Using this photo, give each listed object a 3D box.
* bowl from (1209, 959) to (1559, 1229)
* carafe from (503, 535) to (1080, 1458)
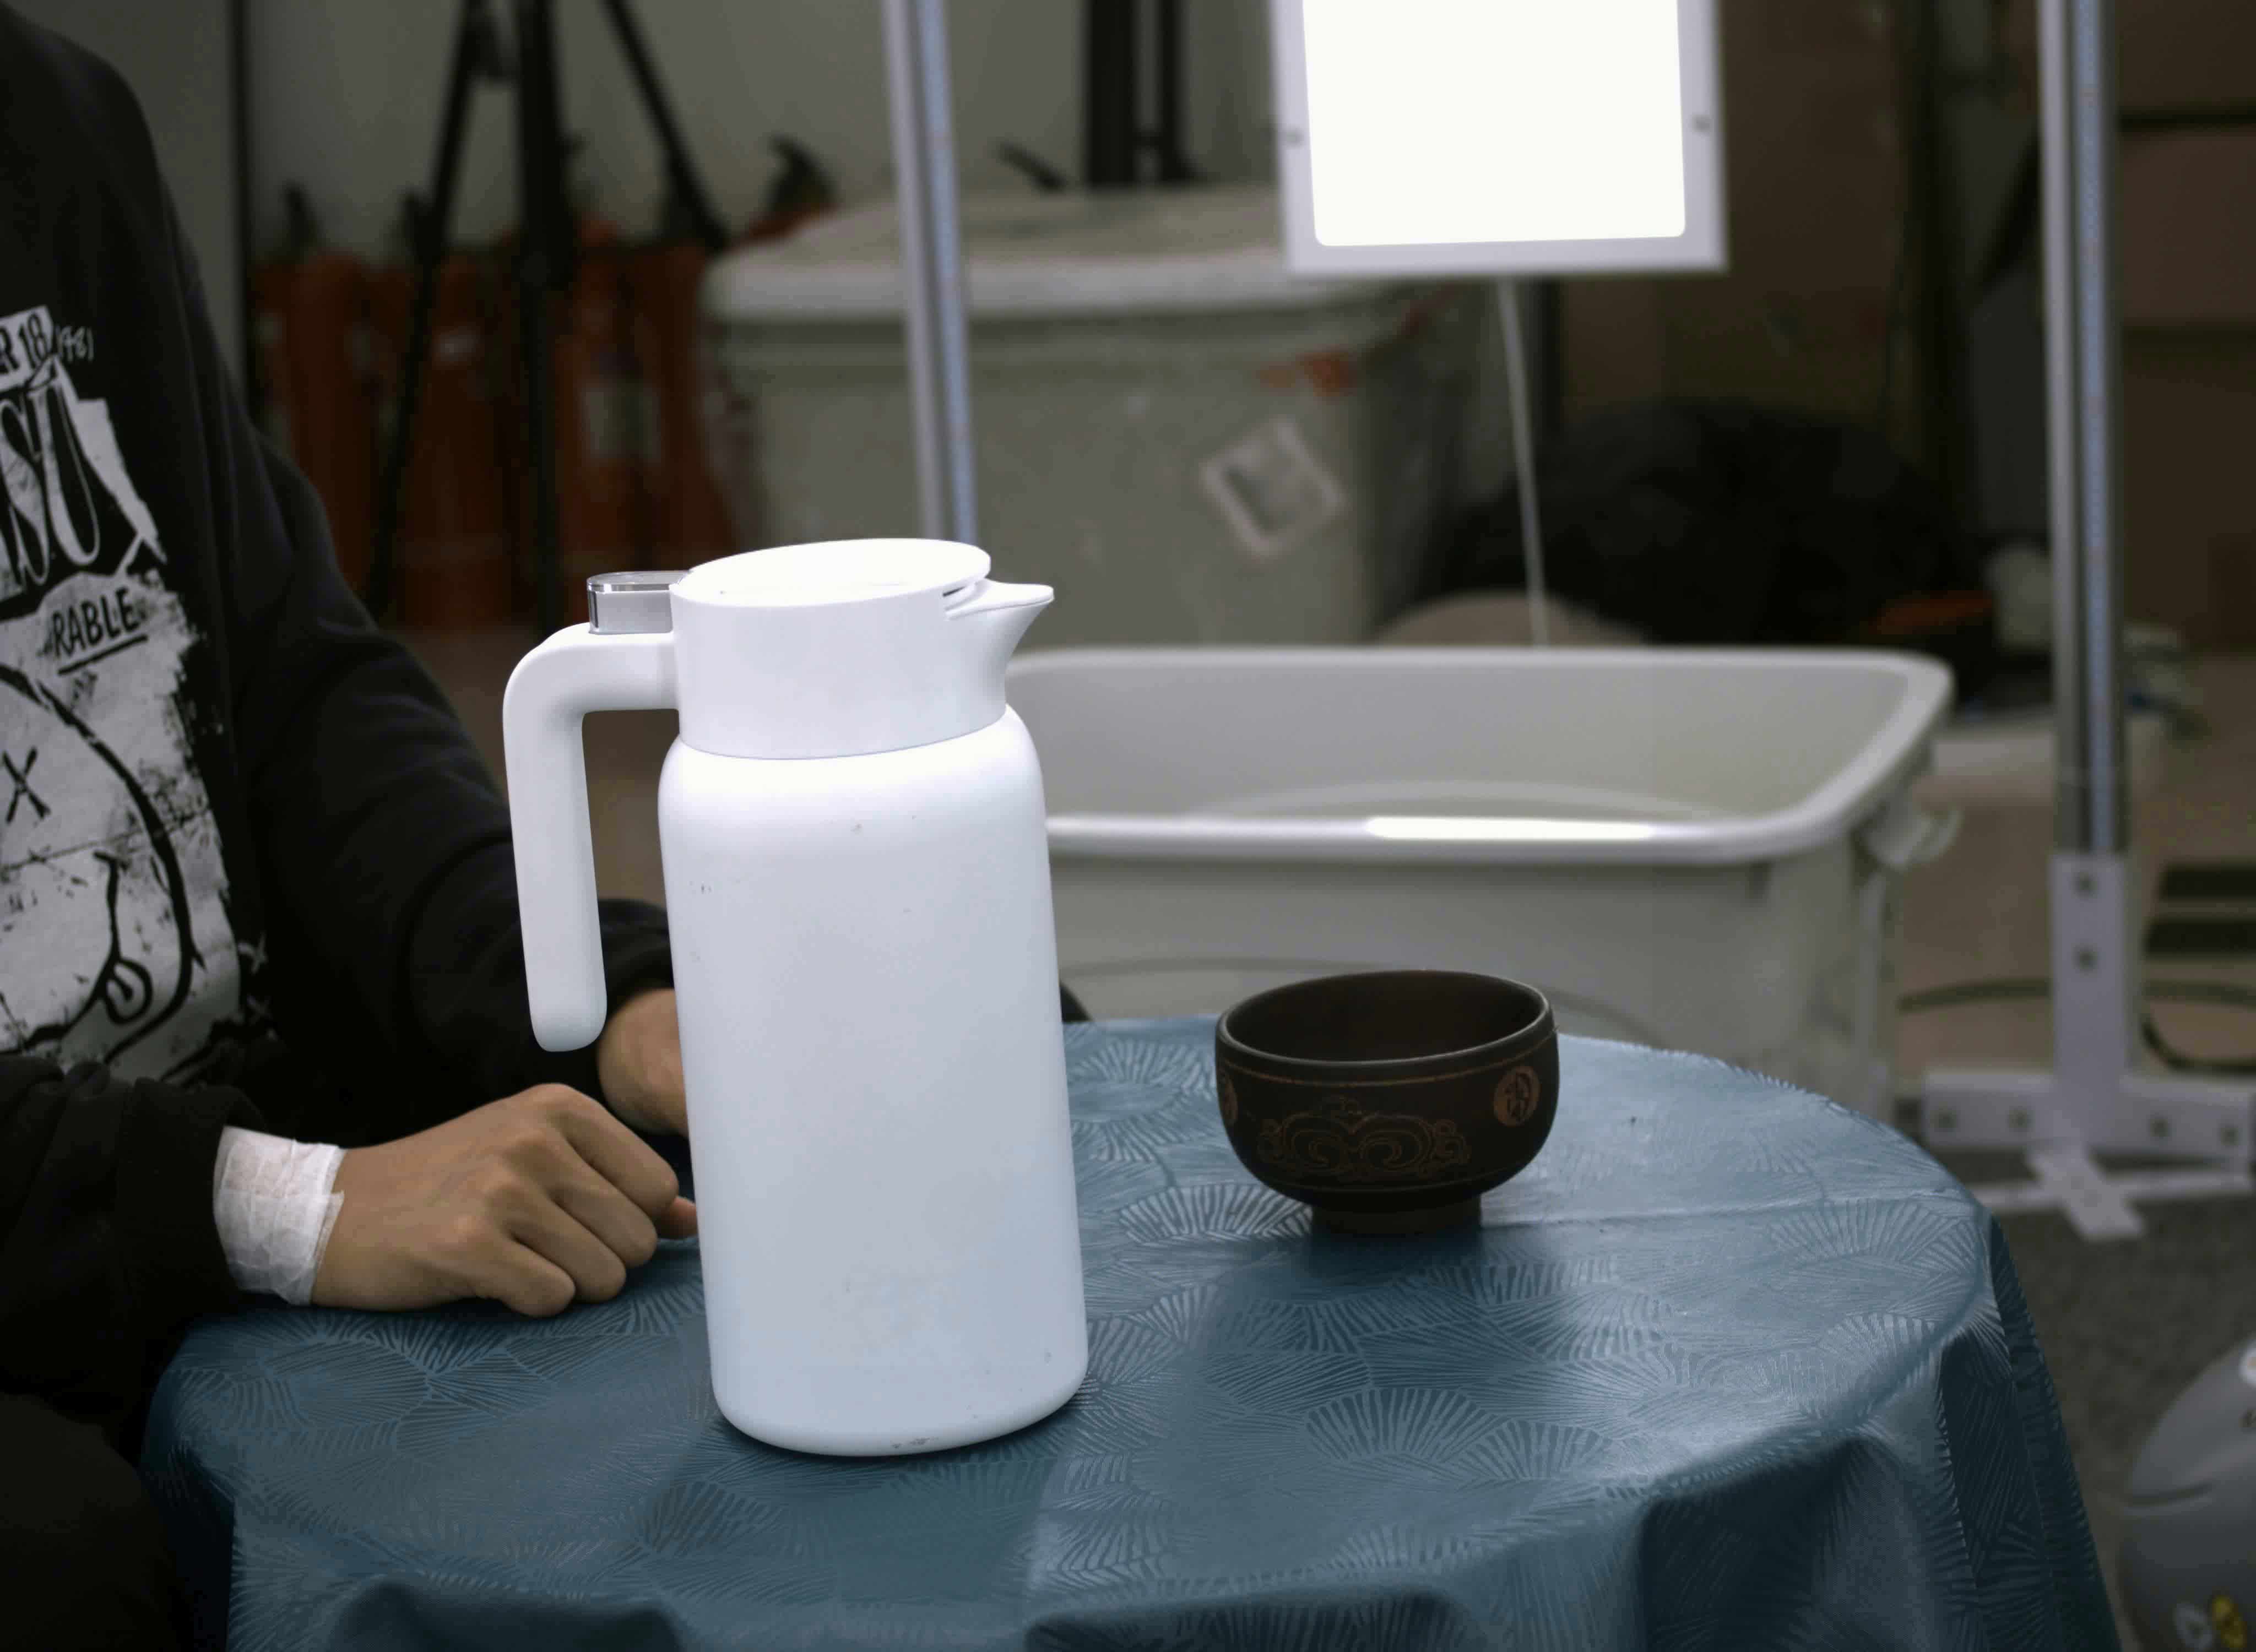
[{"bbox_3d":[0.088,0.094,1.845,0.118,0.070,0.118,-6,14,0],"label":"bowl"},{"bbox_3d":[-0.098,0.051,1.682,0.174,0.270,0.122,-2,16,12],"label":"carafe"}]
